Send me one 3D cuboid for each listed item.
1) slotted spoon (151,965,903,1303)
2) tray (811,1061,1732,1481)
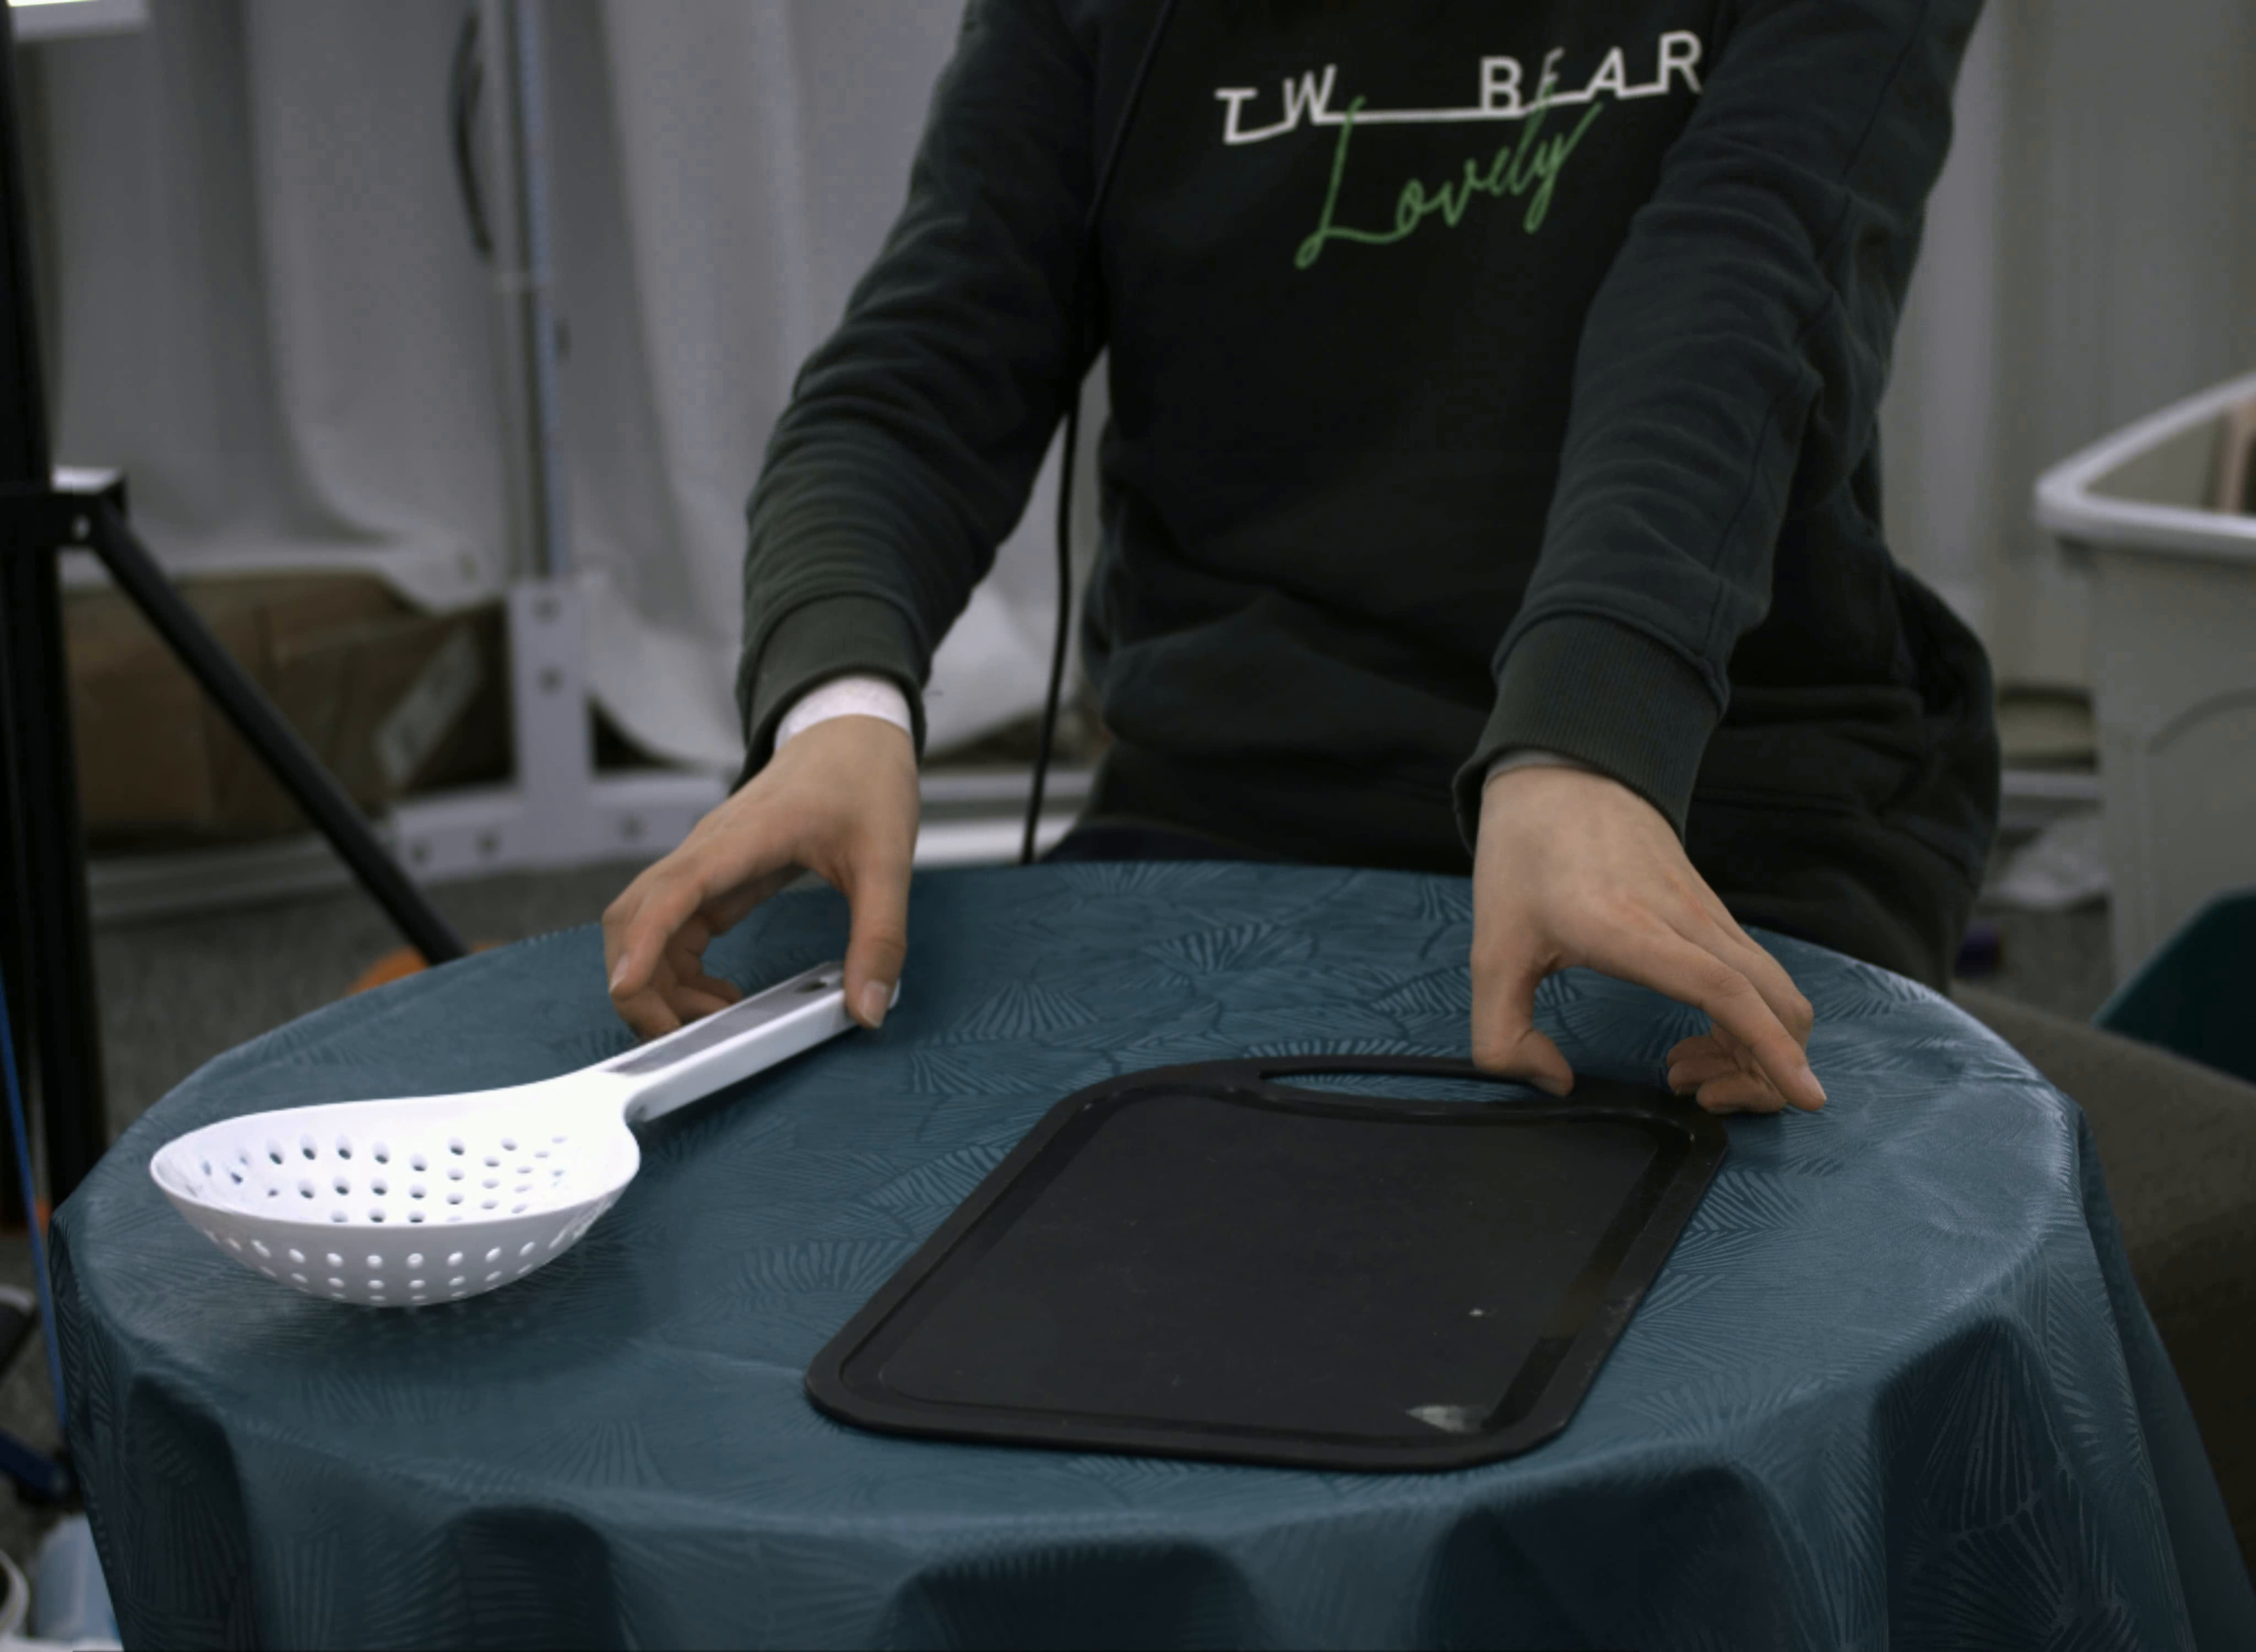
[{"bbox_3d":[-0.159,0.082,1.592,0.138,0.046,0.344,7,18,25],"label":"slotted spoon"},{"bbox_3d":[0.049,0.117,1.505,0.213,0.010,0.322,3,16,18],"label":"tray"}]
